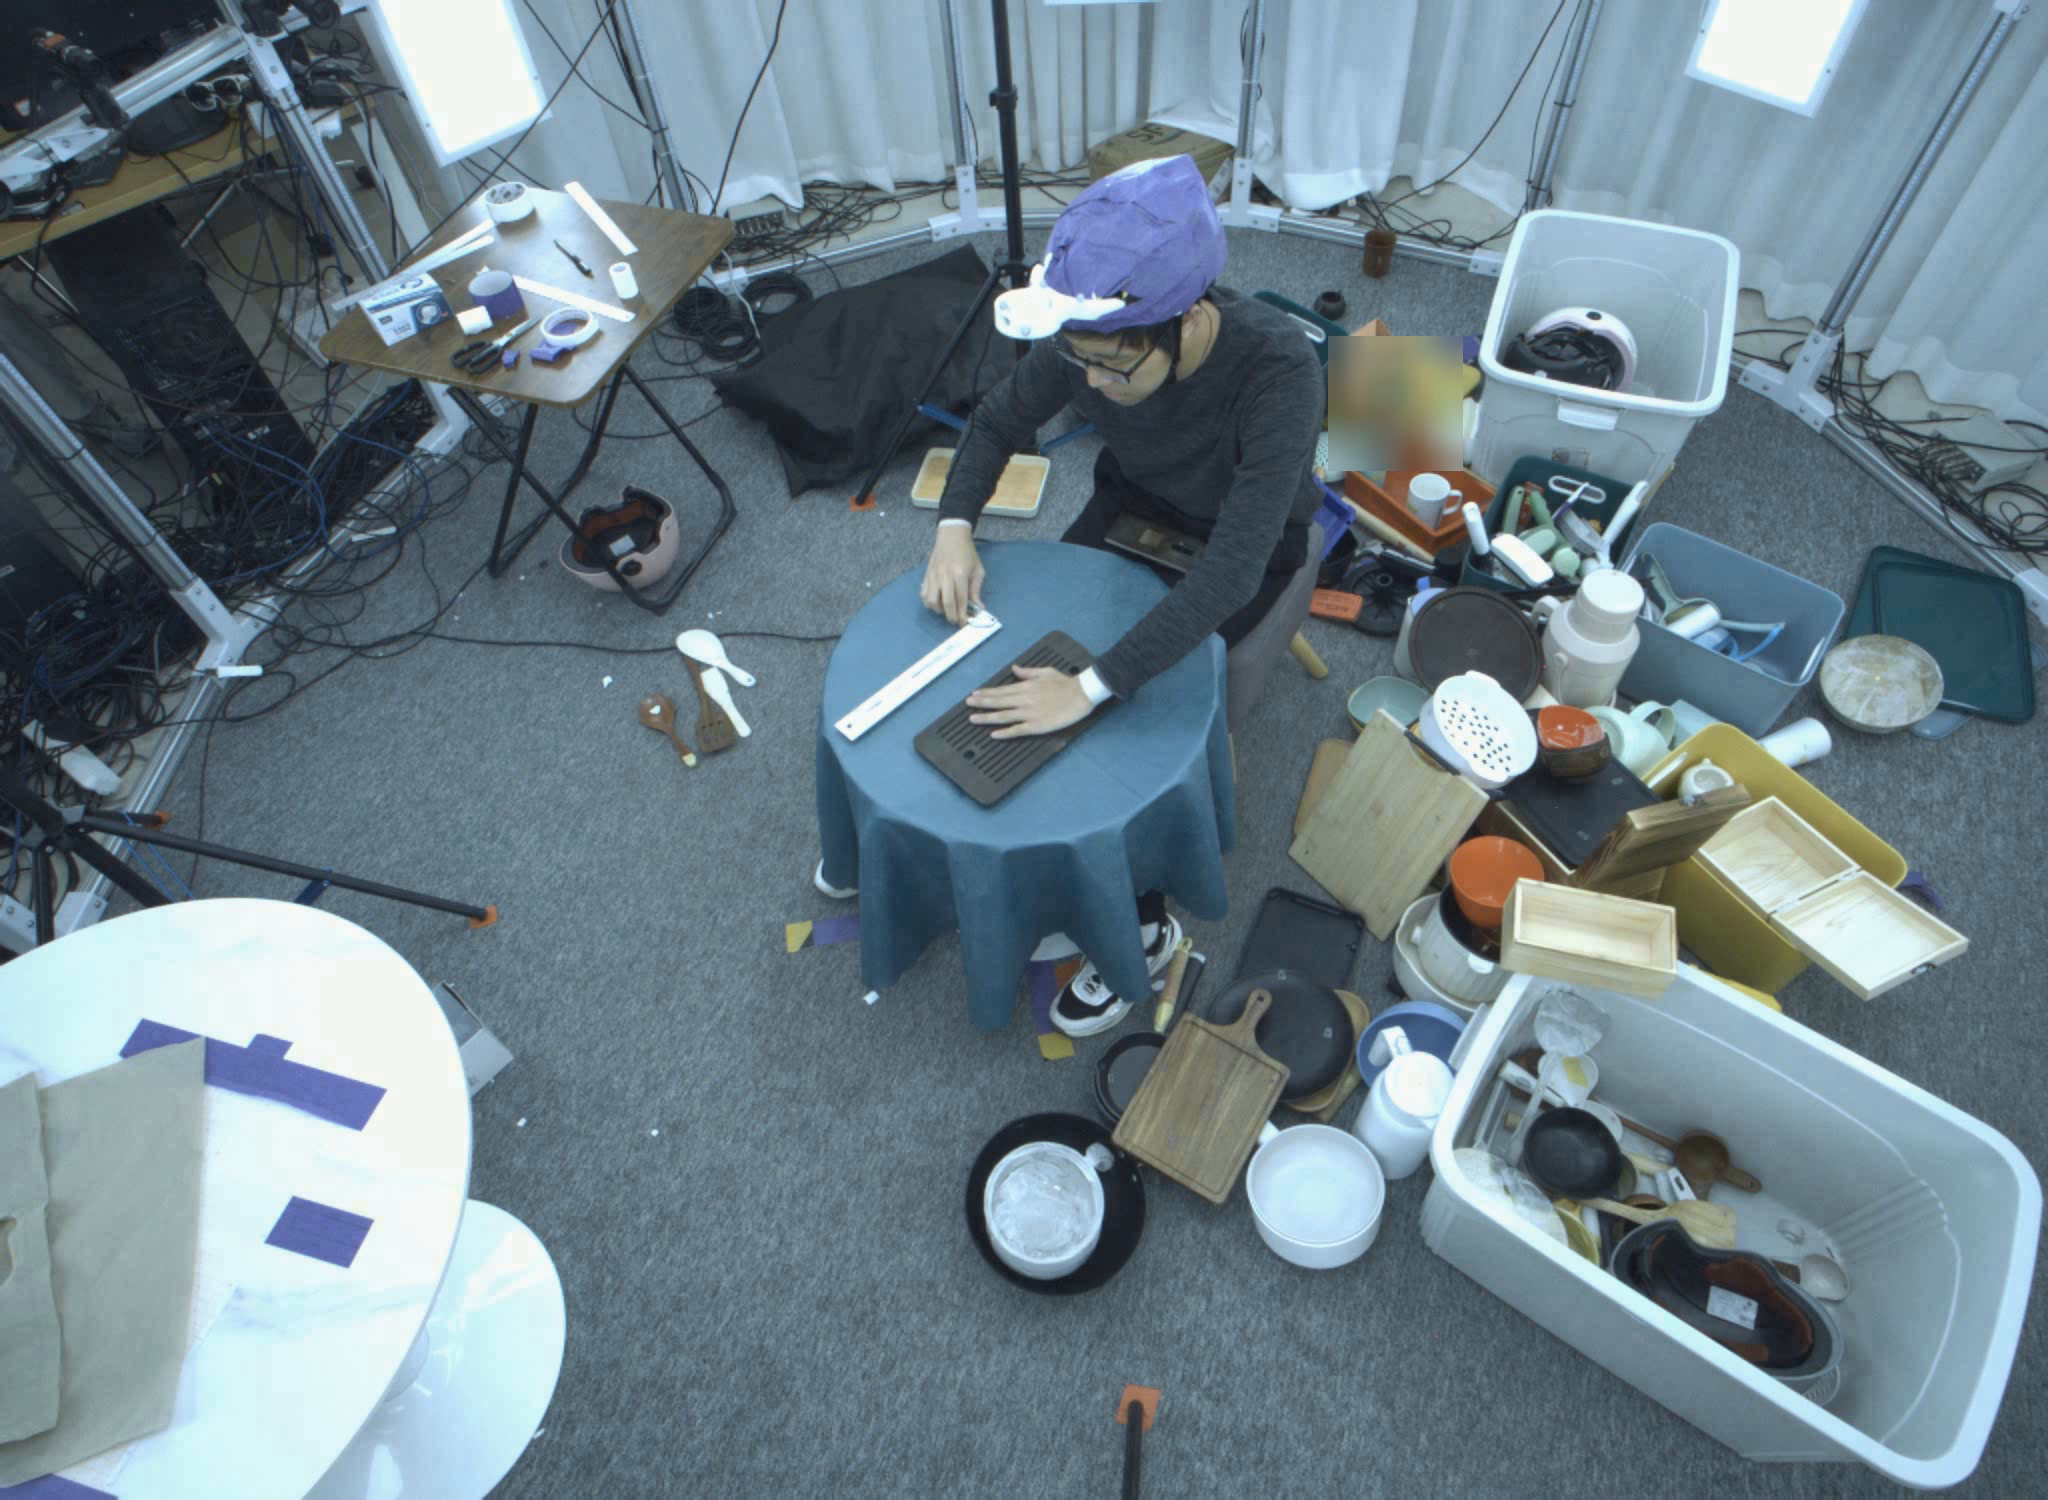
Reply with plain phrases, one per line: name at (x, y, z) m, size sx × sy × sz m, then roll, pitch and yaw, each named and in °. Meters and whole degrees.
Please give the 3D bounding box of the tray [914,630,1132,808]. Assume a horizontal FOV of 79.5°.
tray at (0.001, -0.050, 1.812) m, size 0.308 × 0.019 × 0.167 m, roll -39°, pitch 62°, yaw -23°

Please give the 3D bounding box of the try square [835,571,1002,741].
try square at (-0.195, -0.150, 1.884) m, size 0.150 × 0.016 × 0.315 m, roll 41°, pitch 65°, yaw 20°
